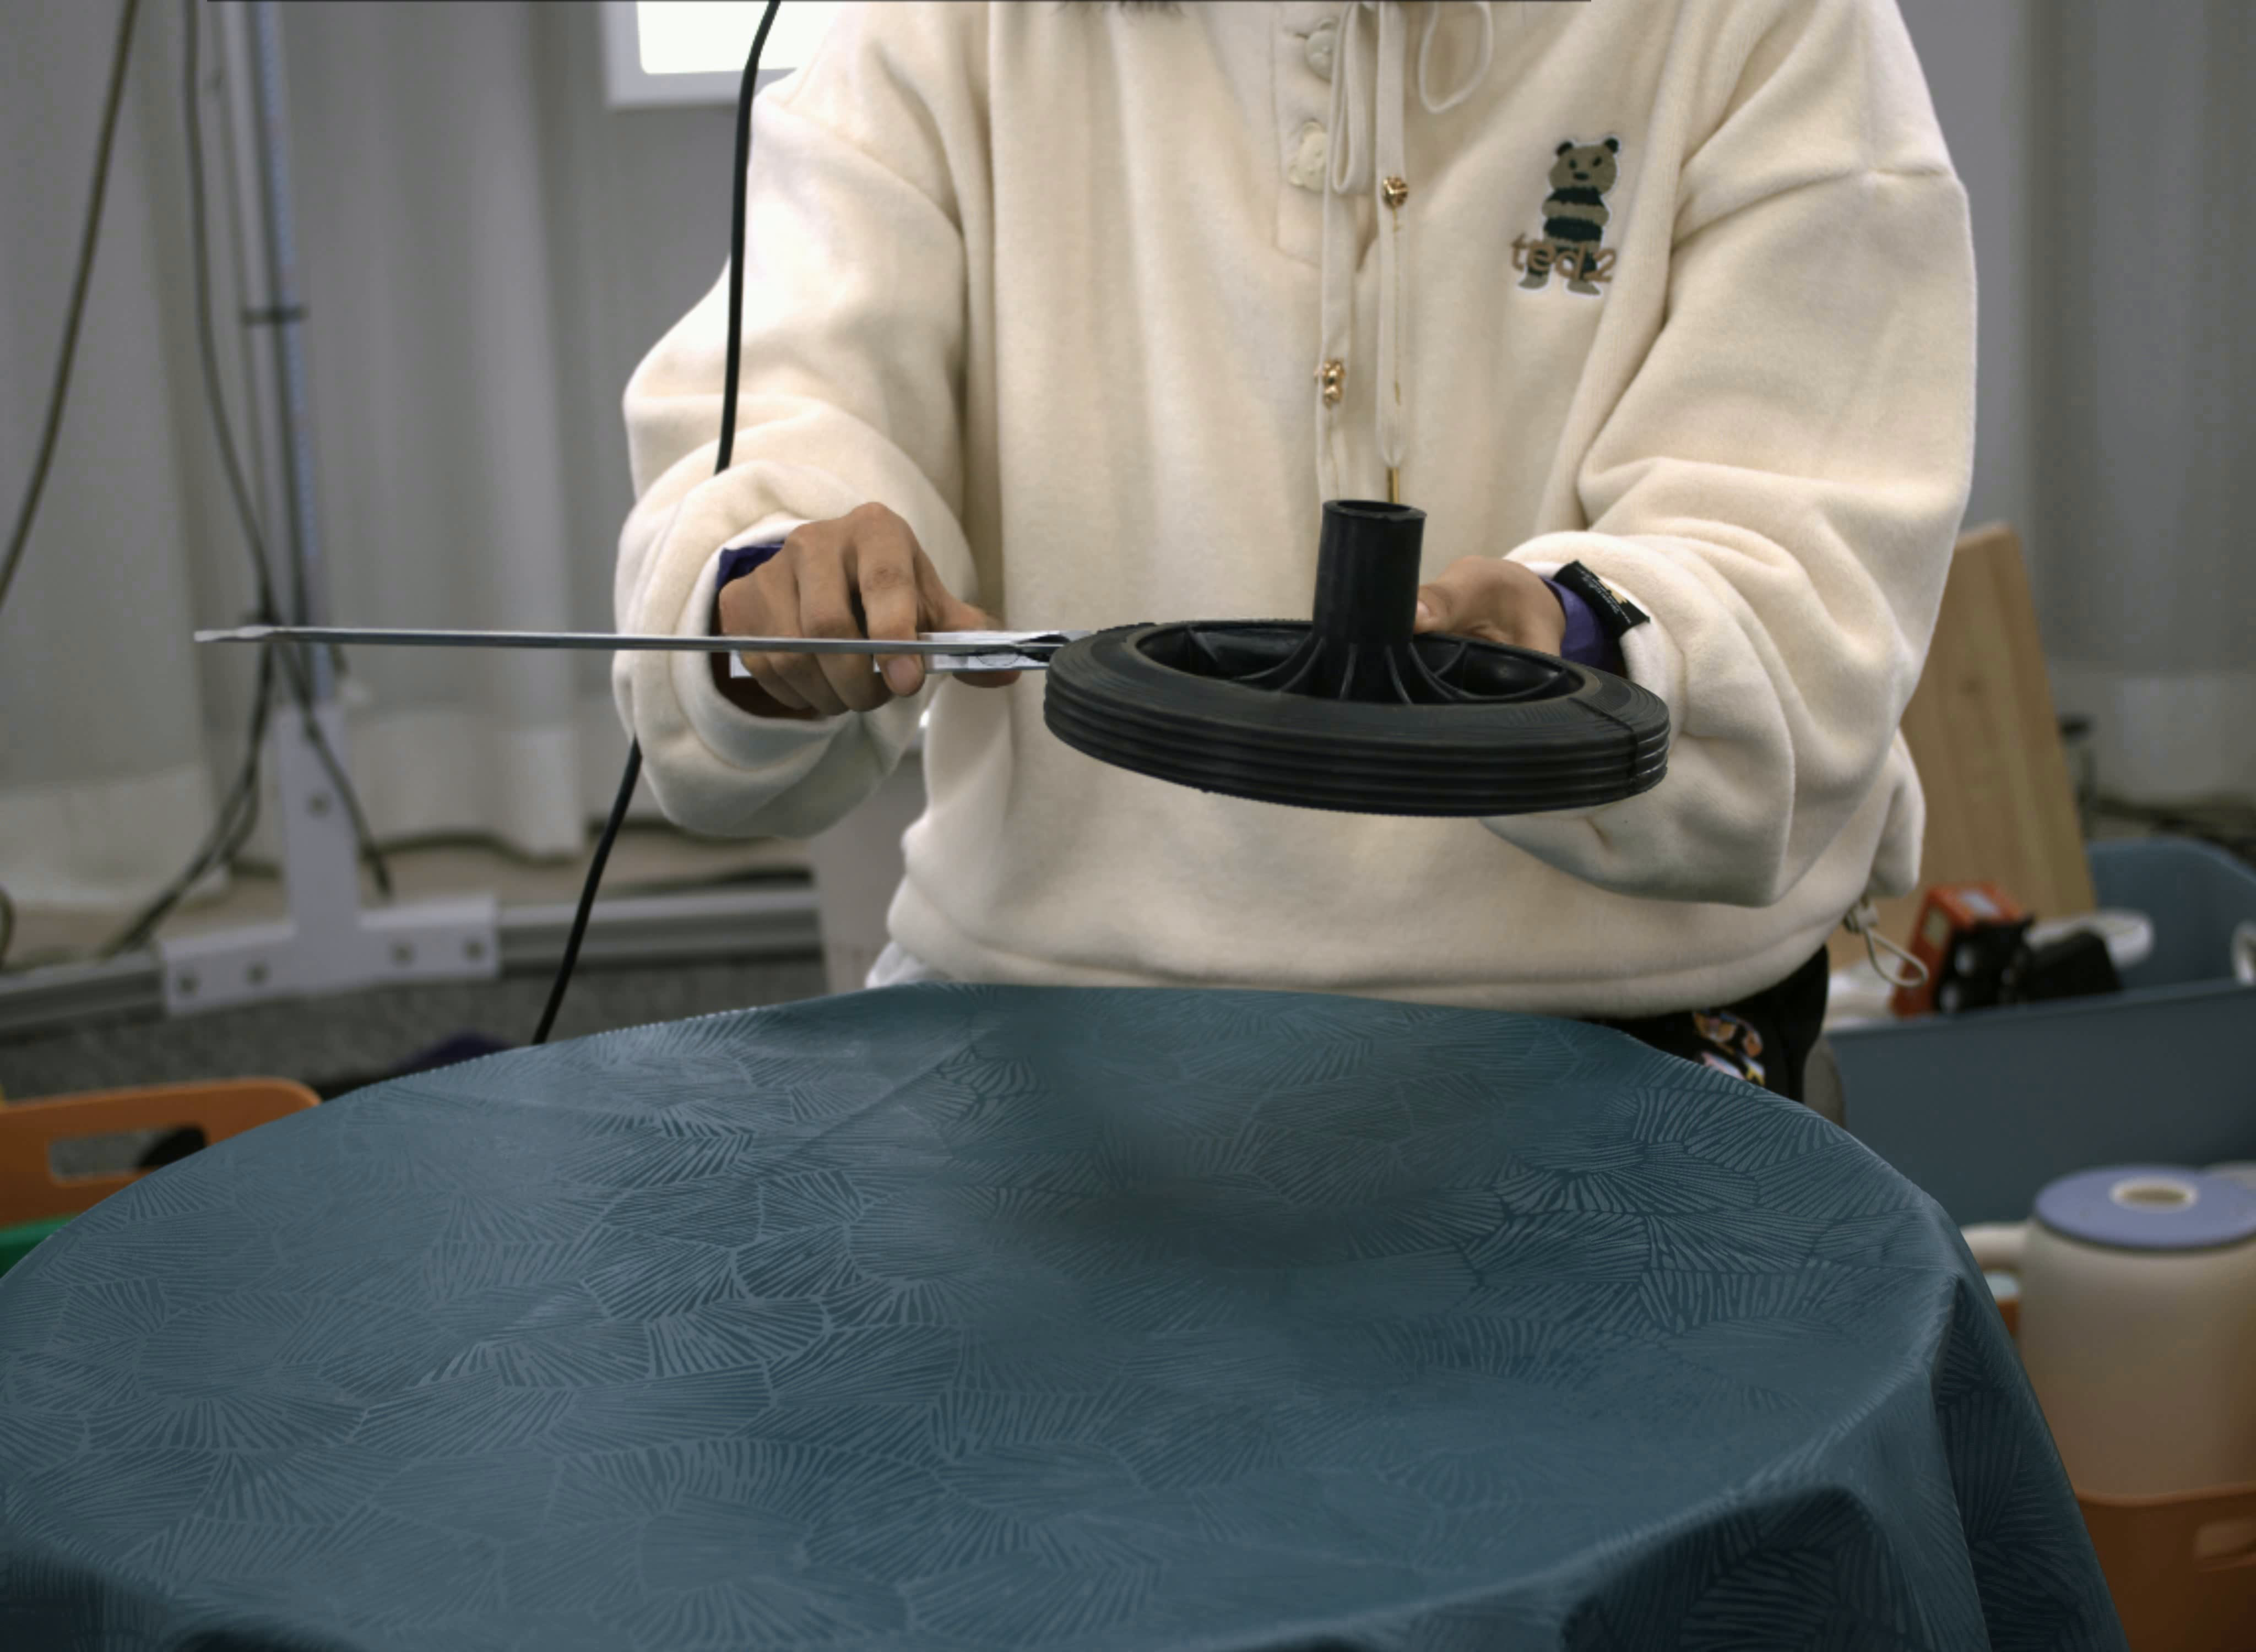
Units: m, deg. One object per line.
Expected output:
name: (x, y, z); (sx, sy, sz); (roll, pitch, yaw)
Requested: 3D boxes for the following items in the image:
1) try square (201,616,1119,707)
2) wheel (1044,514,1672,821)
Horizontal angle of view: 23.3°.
try square: (-0.165, -0.051, 1.651); (0.311, 0.016, 0.152); (0, -4, -41)
wheel: (0.071, -0.052, 1.638); (0.188, 0.079, 0.189); (1, 12, -22)
